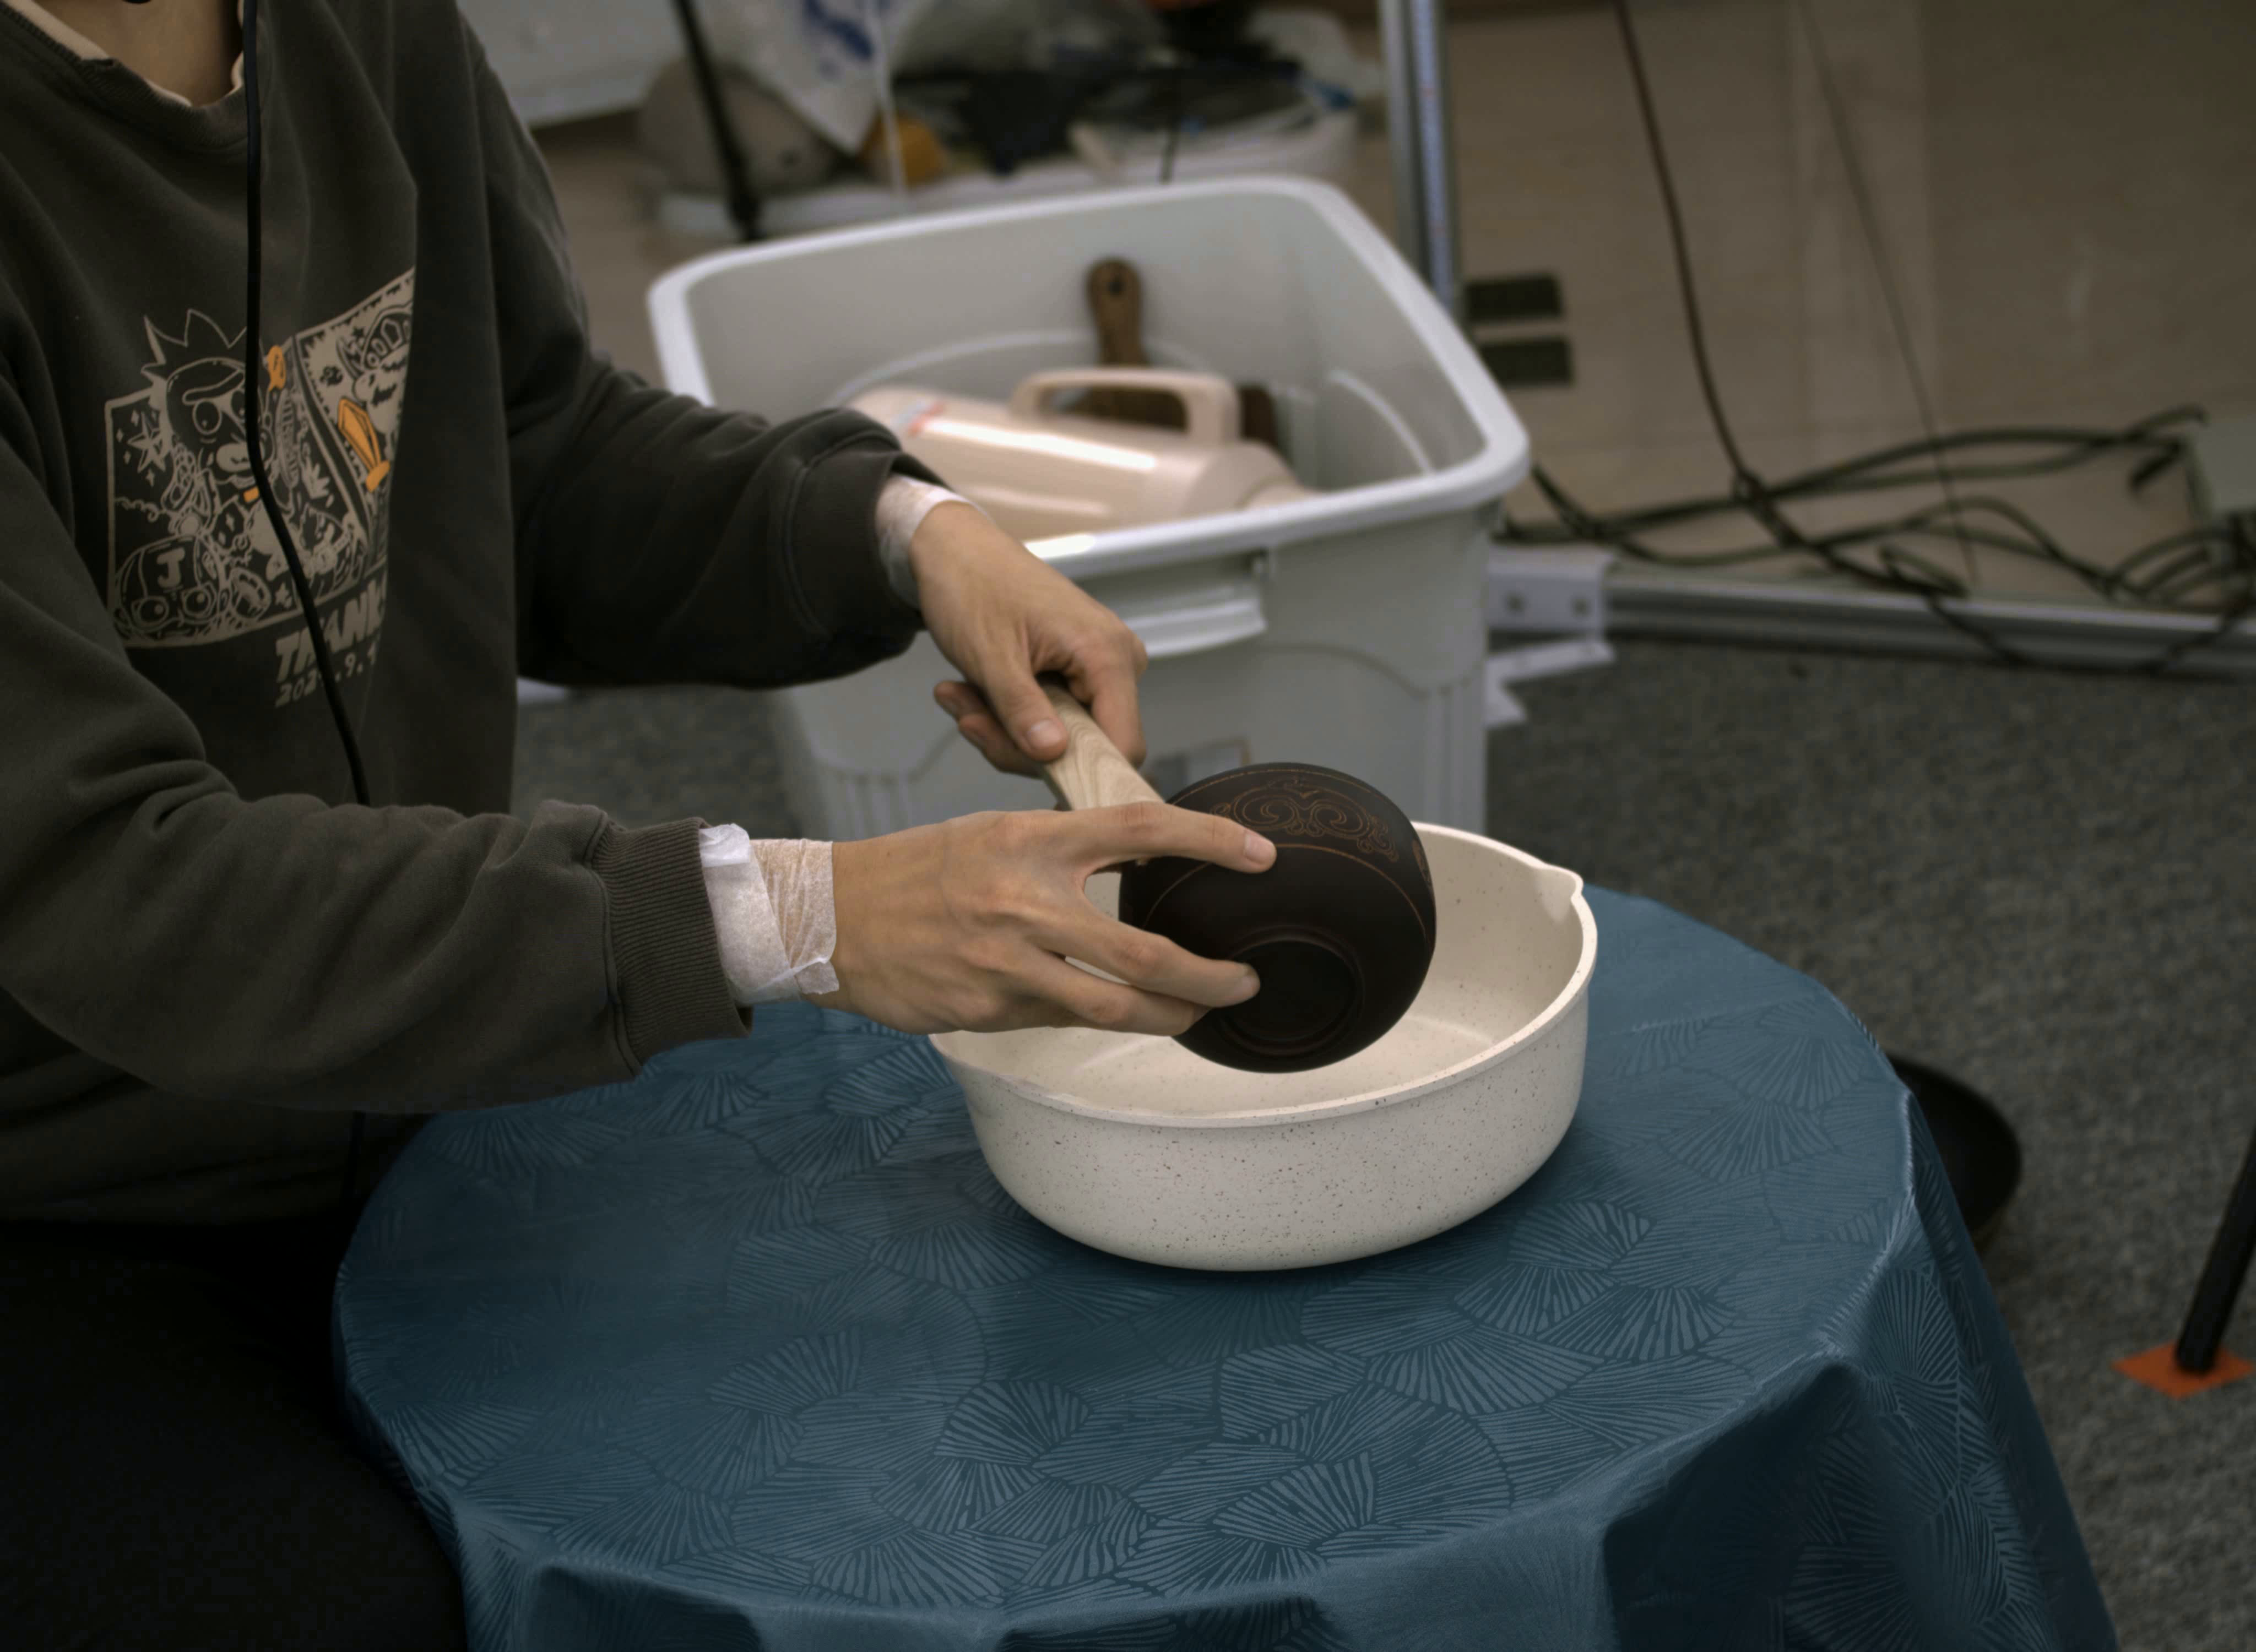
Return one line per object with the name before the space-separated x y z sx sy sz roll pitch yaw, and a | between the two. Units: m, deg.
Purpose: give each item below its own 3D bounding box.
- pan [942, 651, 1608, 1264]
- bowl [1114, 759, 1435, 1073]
pan | 0.026 0.045 2.224 0.262 0.103 0.429 -17 26 -16
bowl | 0.054 0.041 2.060 0.118 0.120 0.068 -6 38 0
